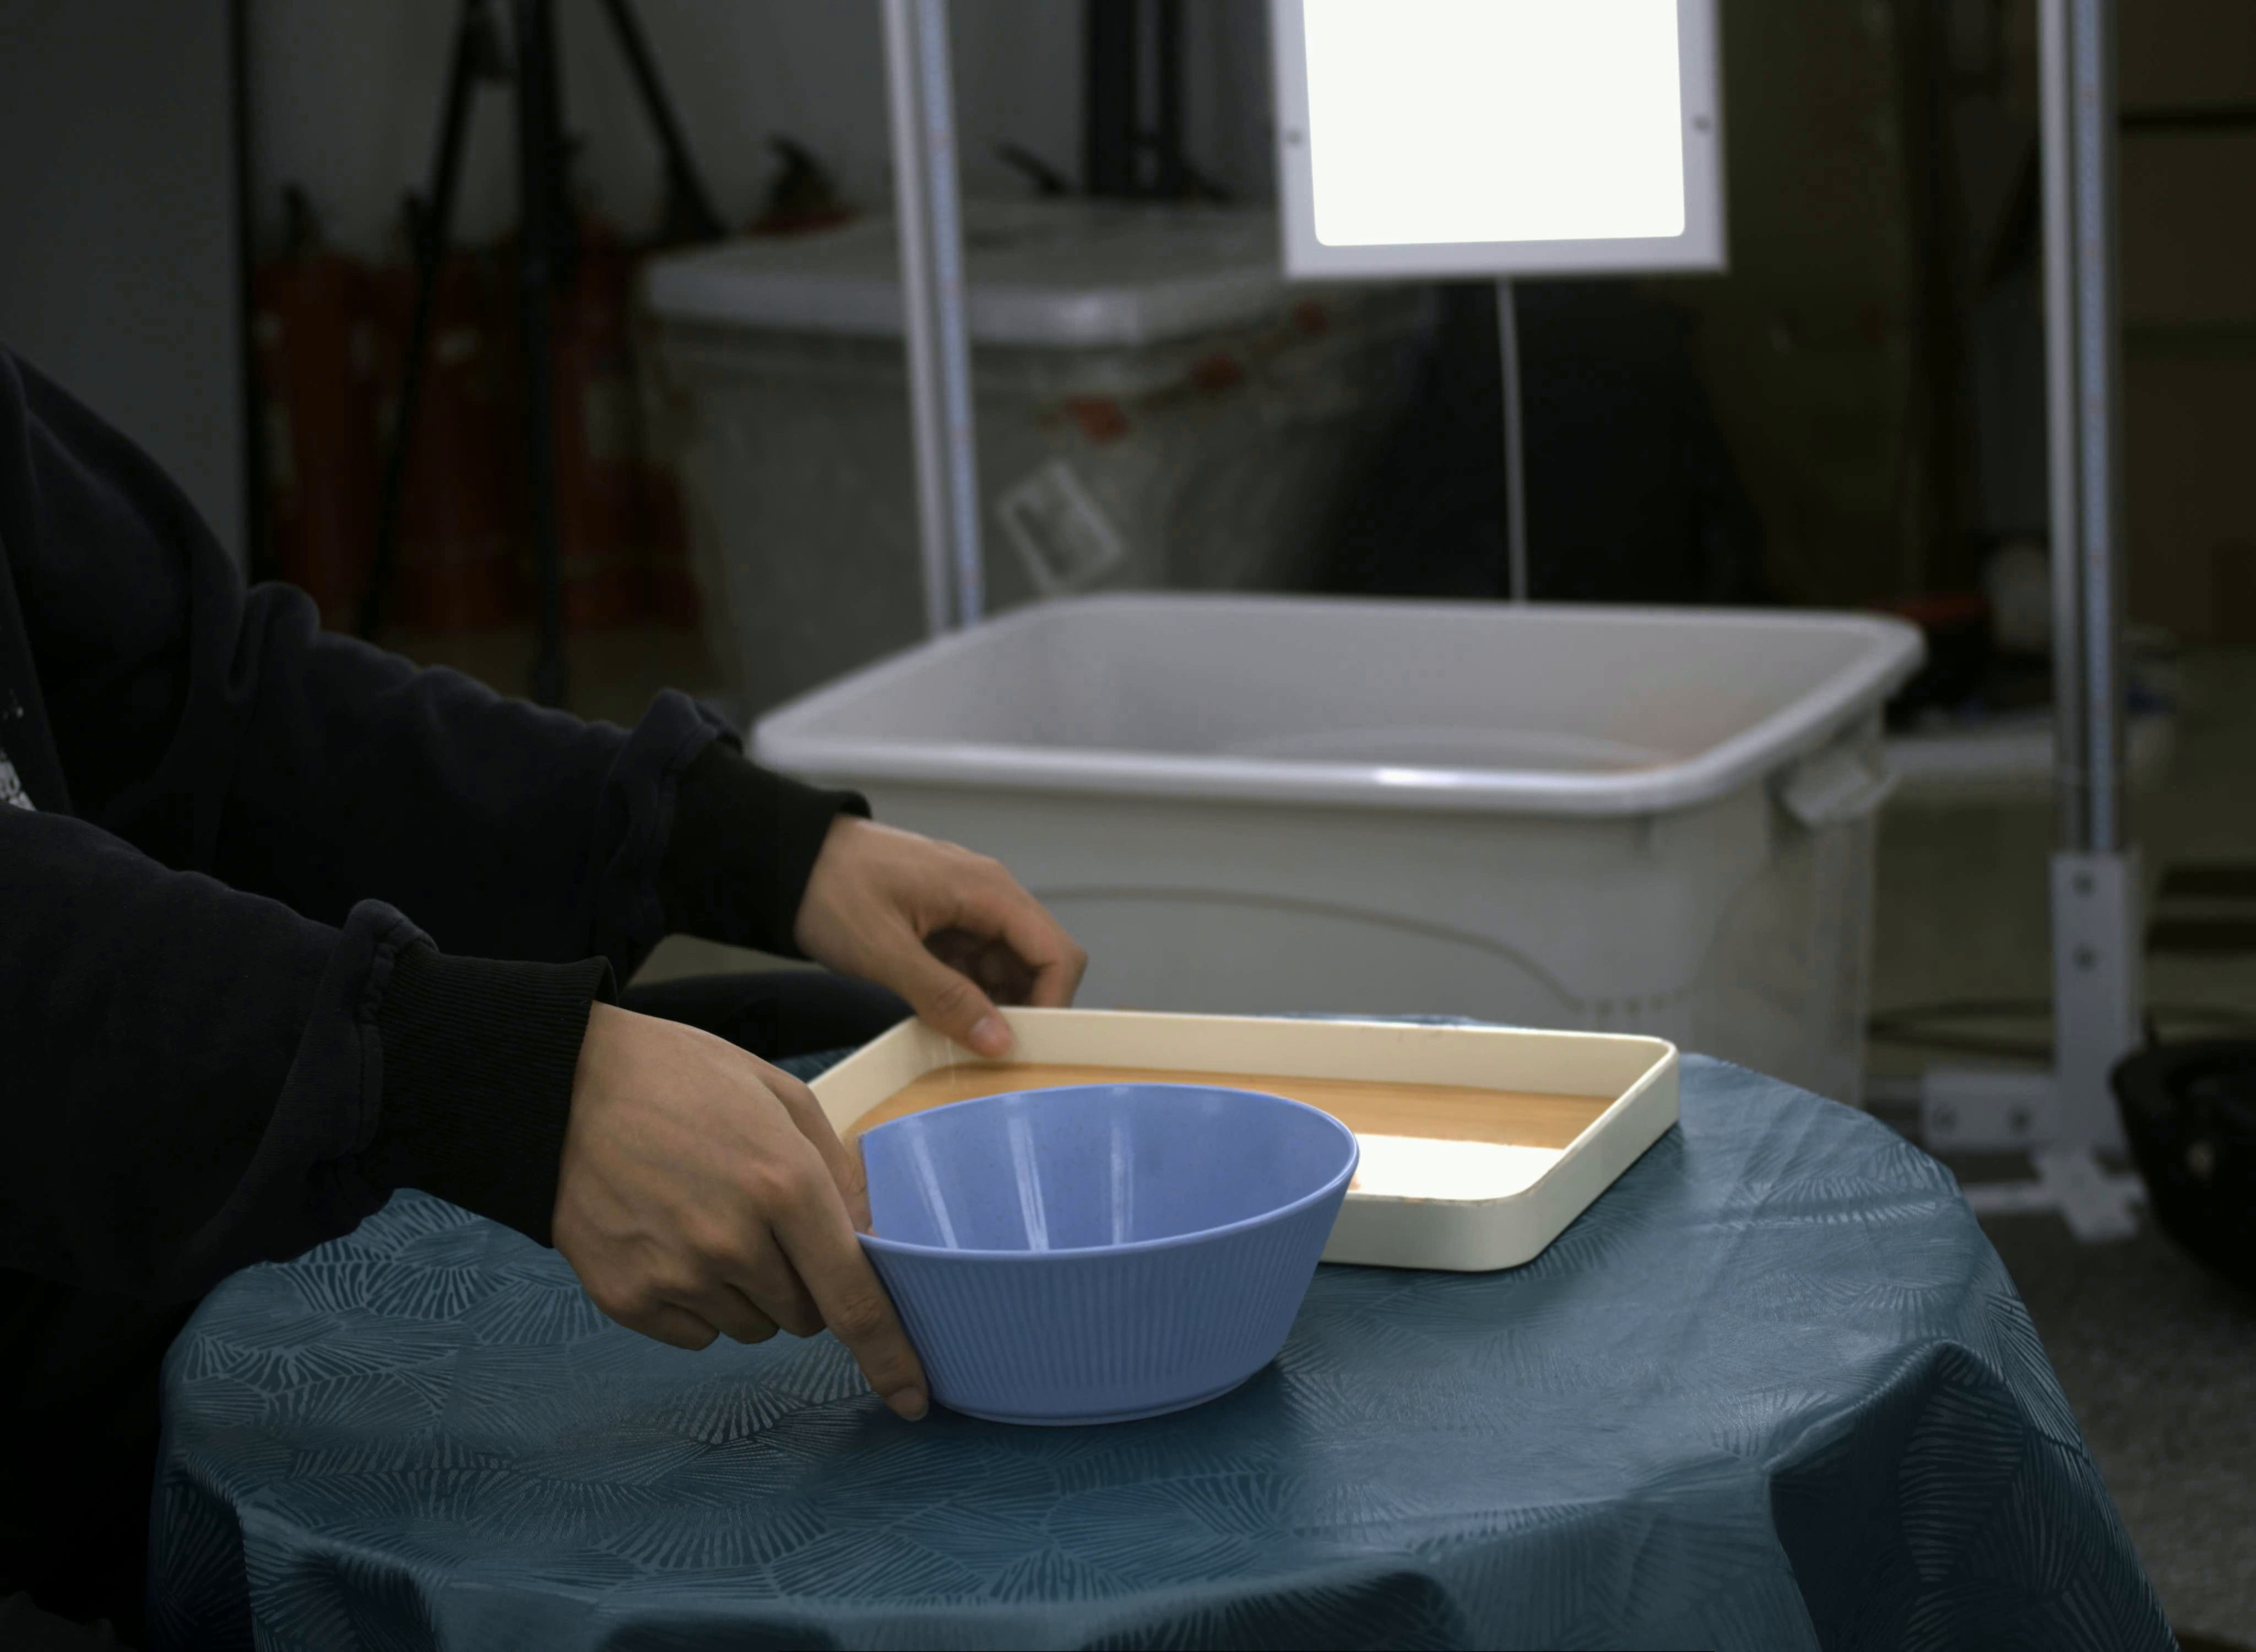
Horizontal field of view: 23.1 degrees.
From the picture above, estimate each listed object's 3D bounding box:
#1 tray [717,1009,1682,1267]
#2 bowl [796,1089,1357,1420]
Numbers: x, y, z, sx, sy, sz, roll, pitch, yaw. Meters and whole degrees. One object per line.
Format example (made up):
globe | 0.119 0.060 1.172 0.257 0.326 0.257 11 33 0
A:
tray | 0.027 0.106 1.915 0.305 0.027 0.188 2 14 25
bowl | -0.014 0.136 1.715 0.175 0.070 0.176 -4 13 0
